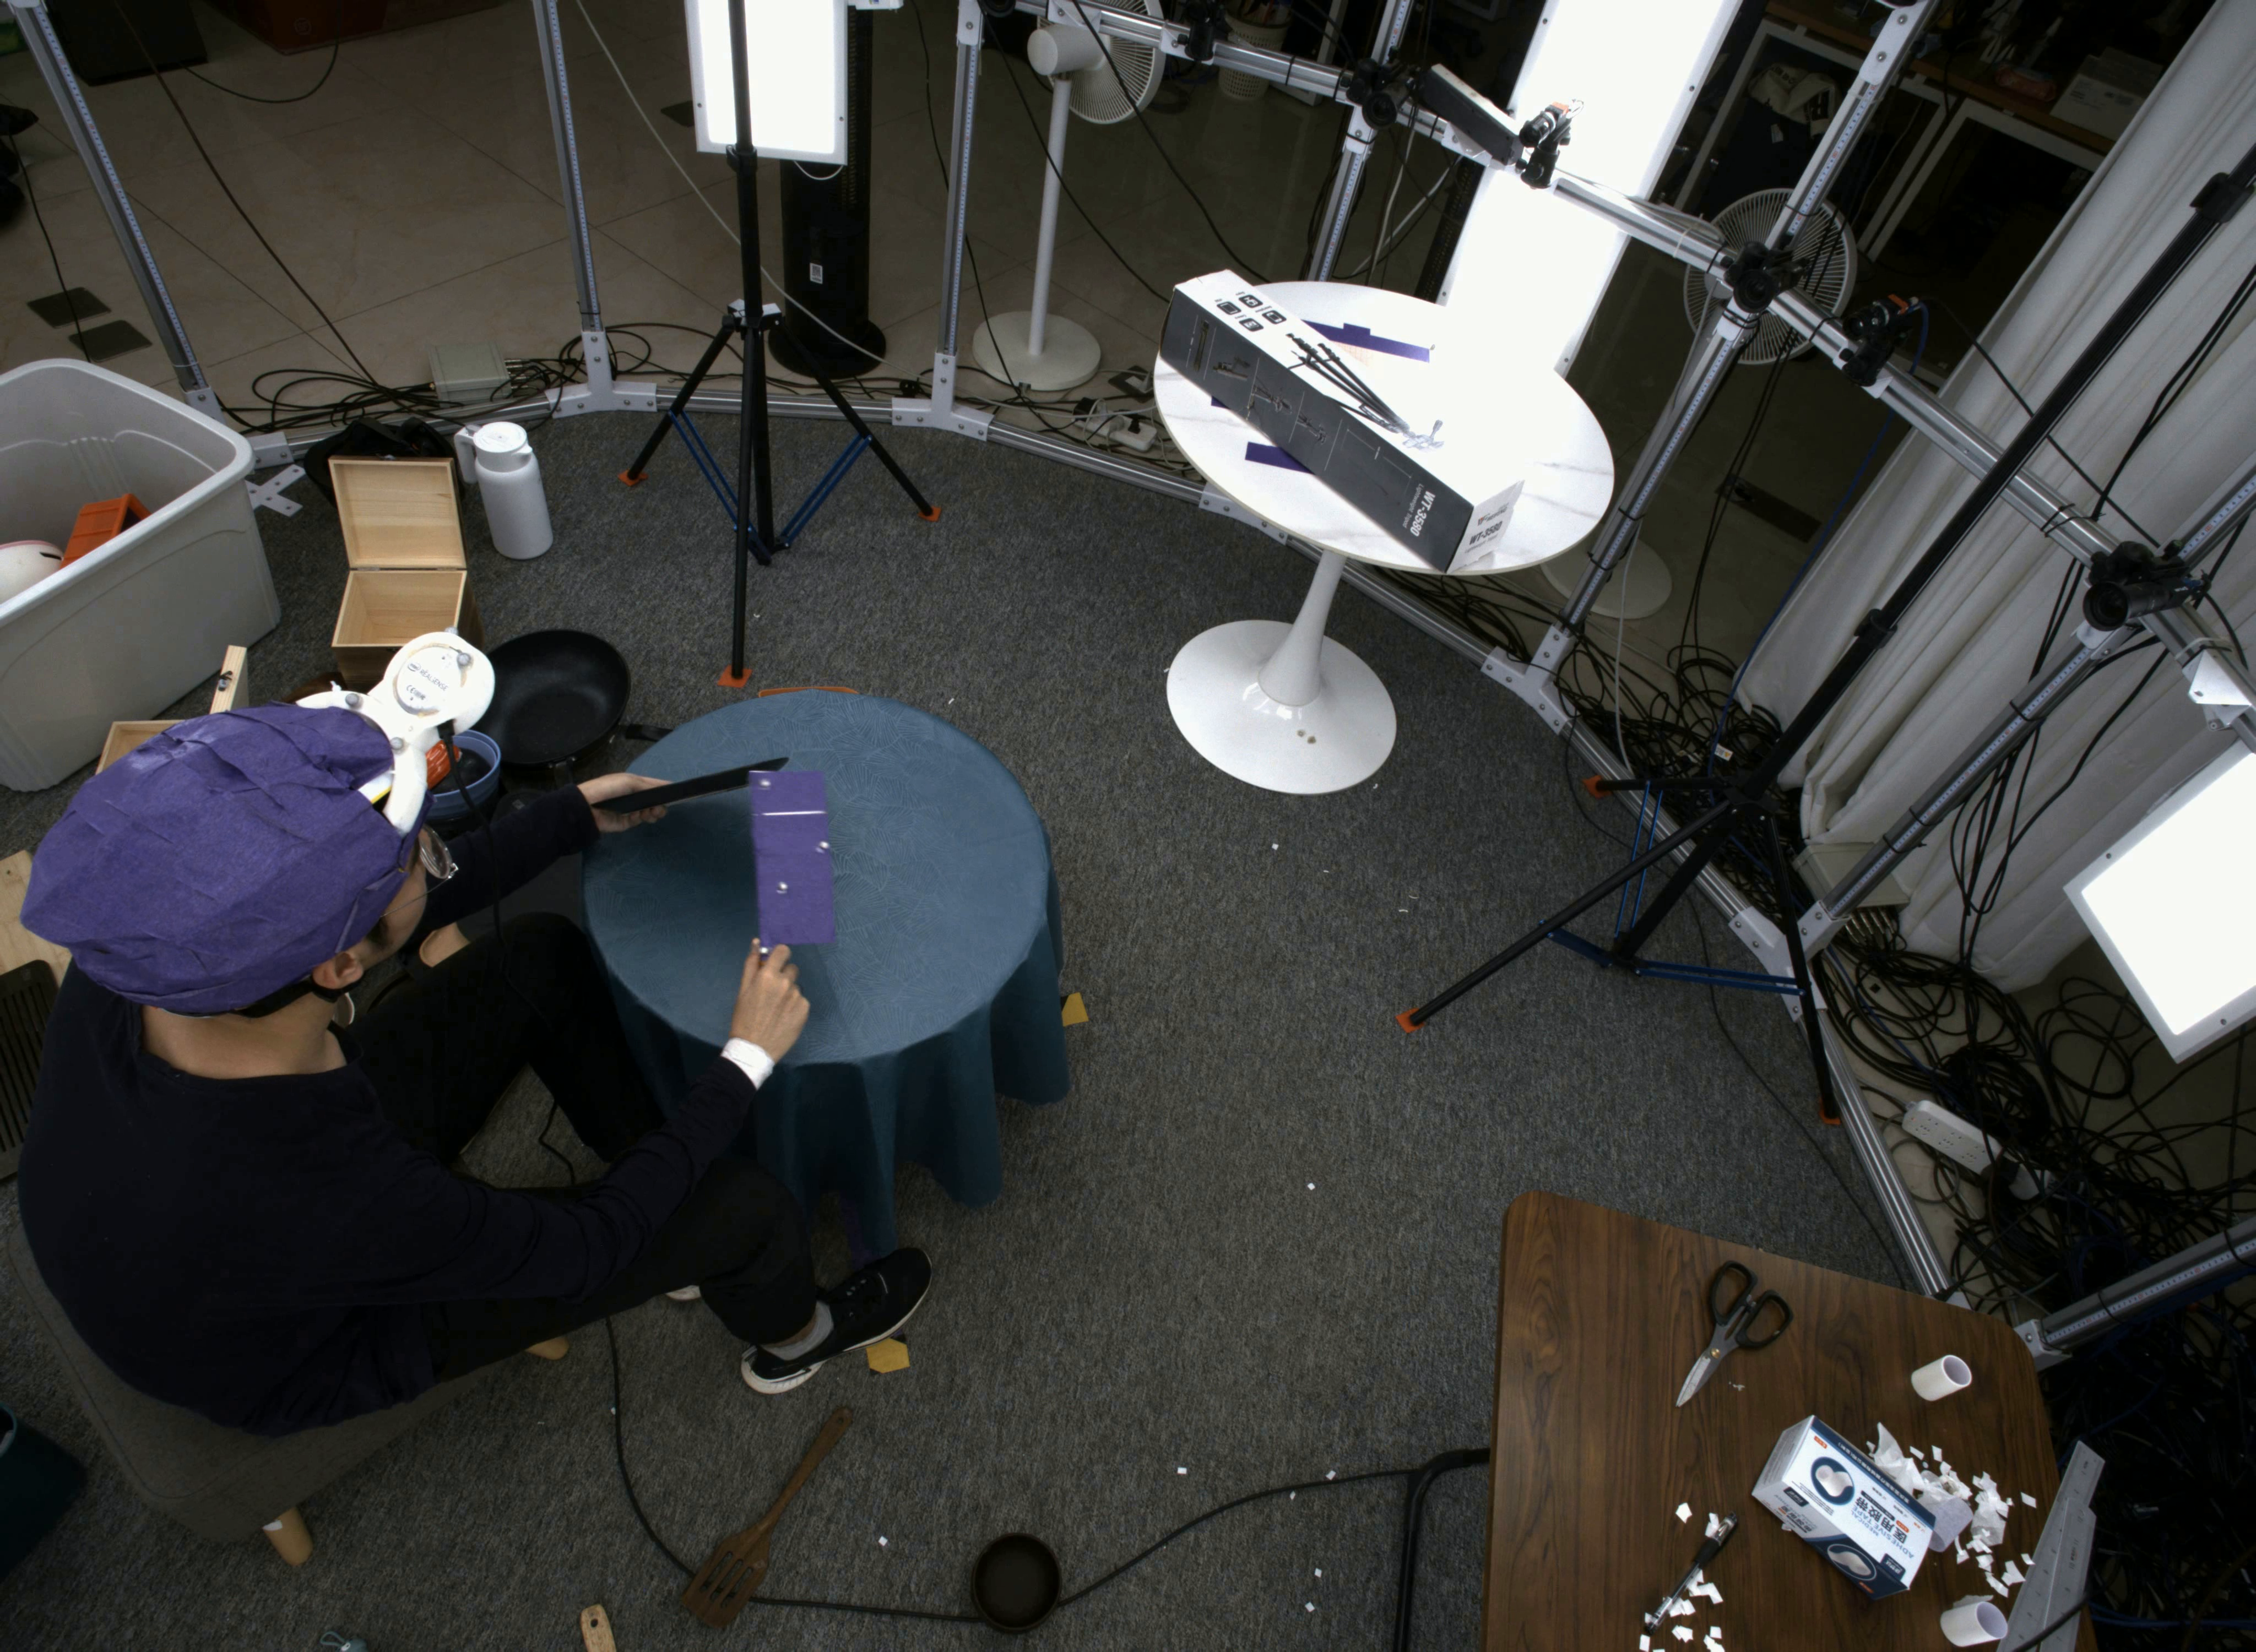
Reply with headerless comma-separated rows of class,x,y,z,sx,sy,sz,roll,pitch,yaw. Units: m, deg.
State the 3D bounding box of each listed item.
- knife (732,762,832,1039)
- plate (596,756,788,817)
knife,-0.392,0.081,1.507,0.105,0.031,0.317,-5,85,-33
plate,-0.538,-0.047,1.591,0.245,0.239,0.024,-16,94,-24
